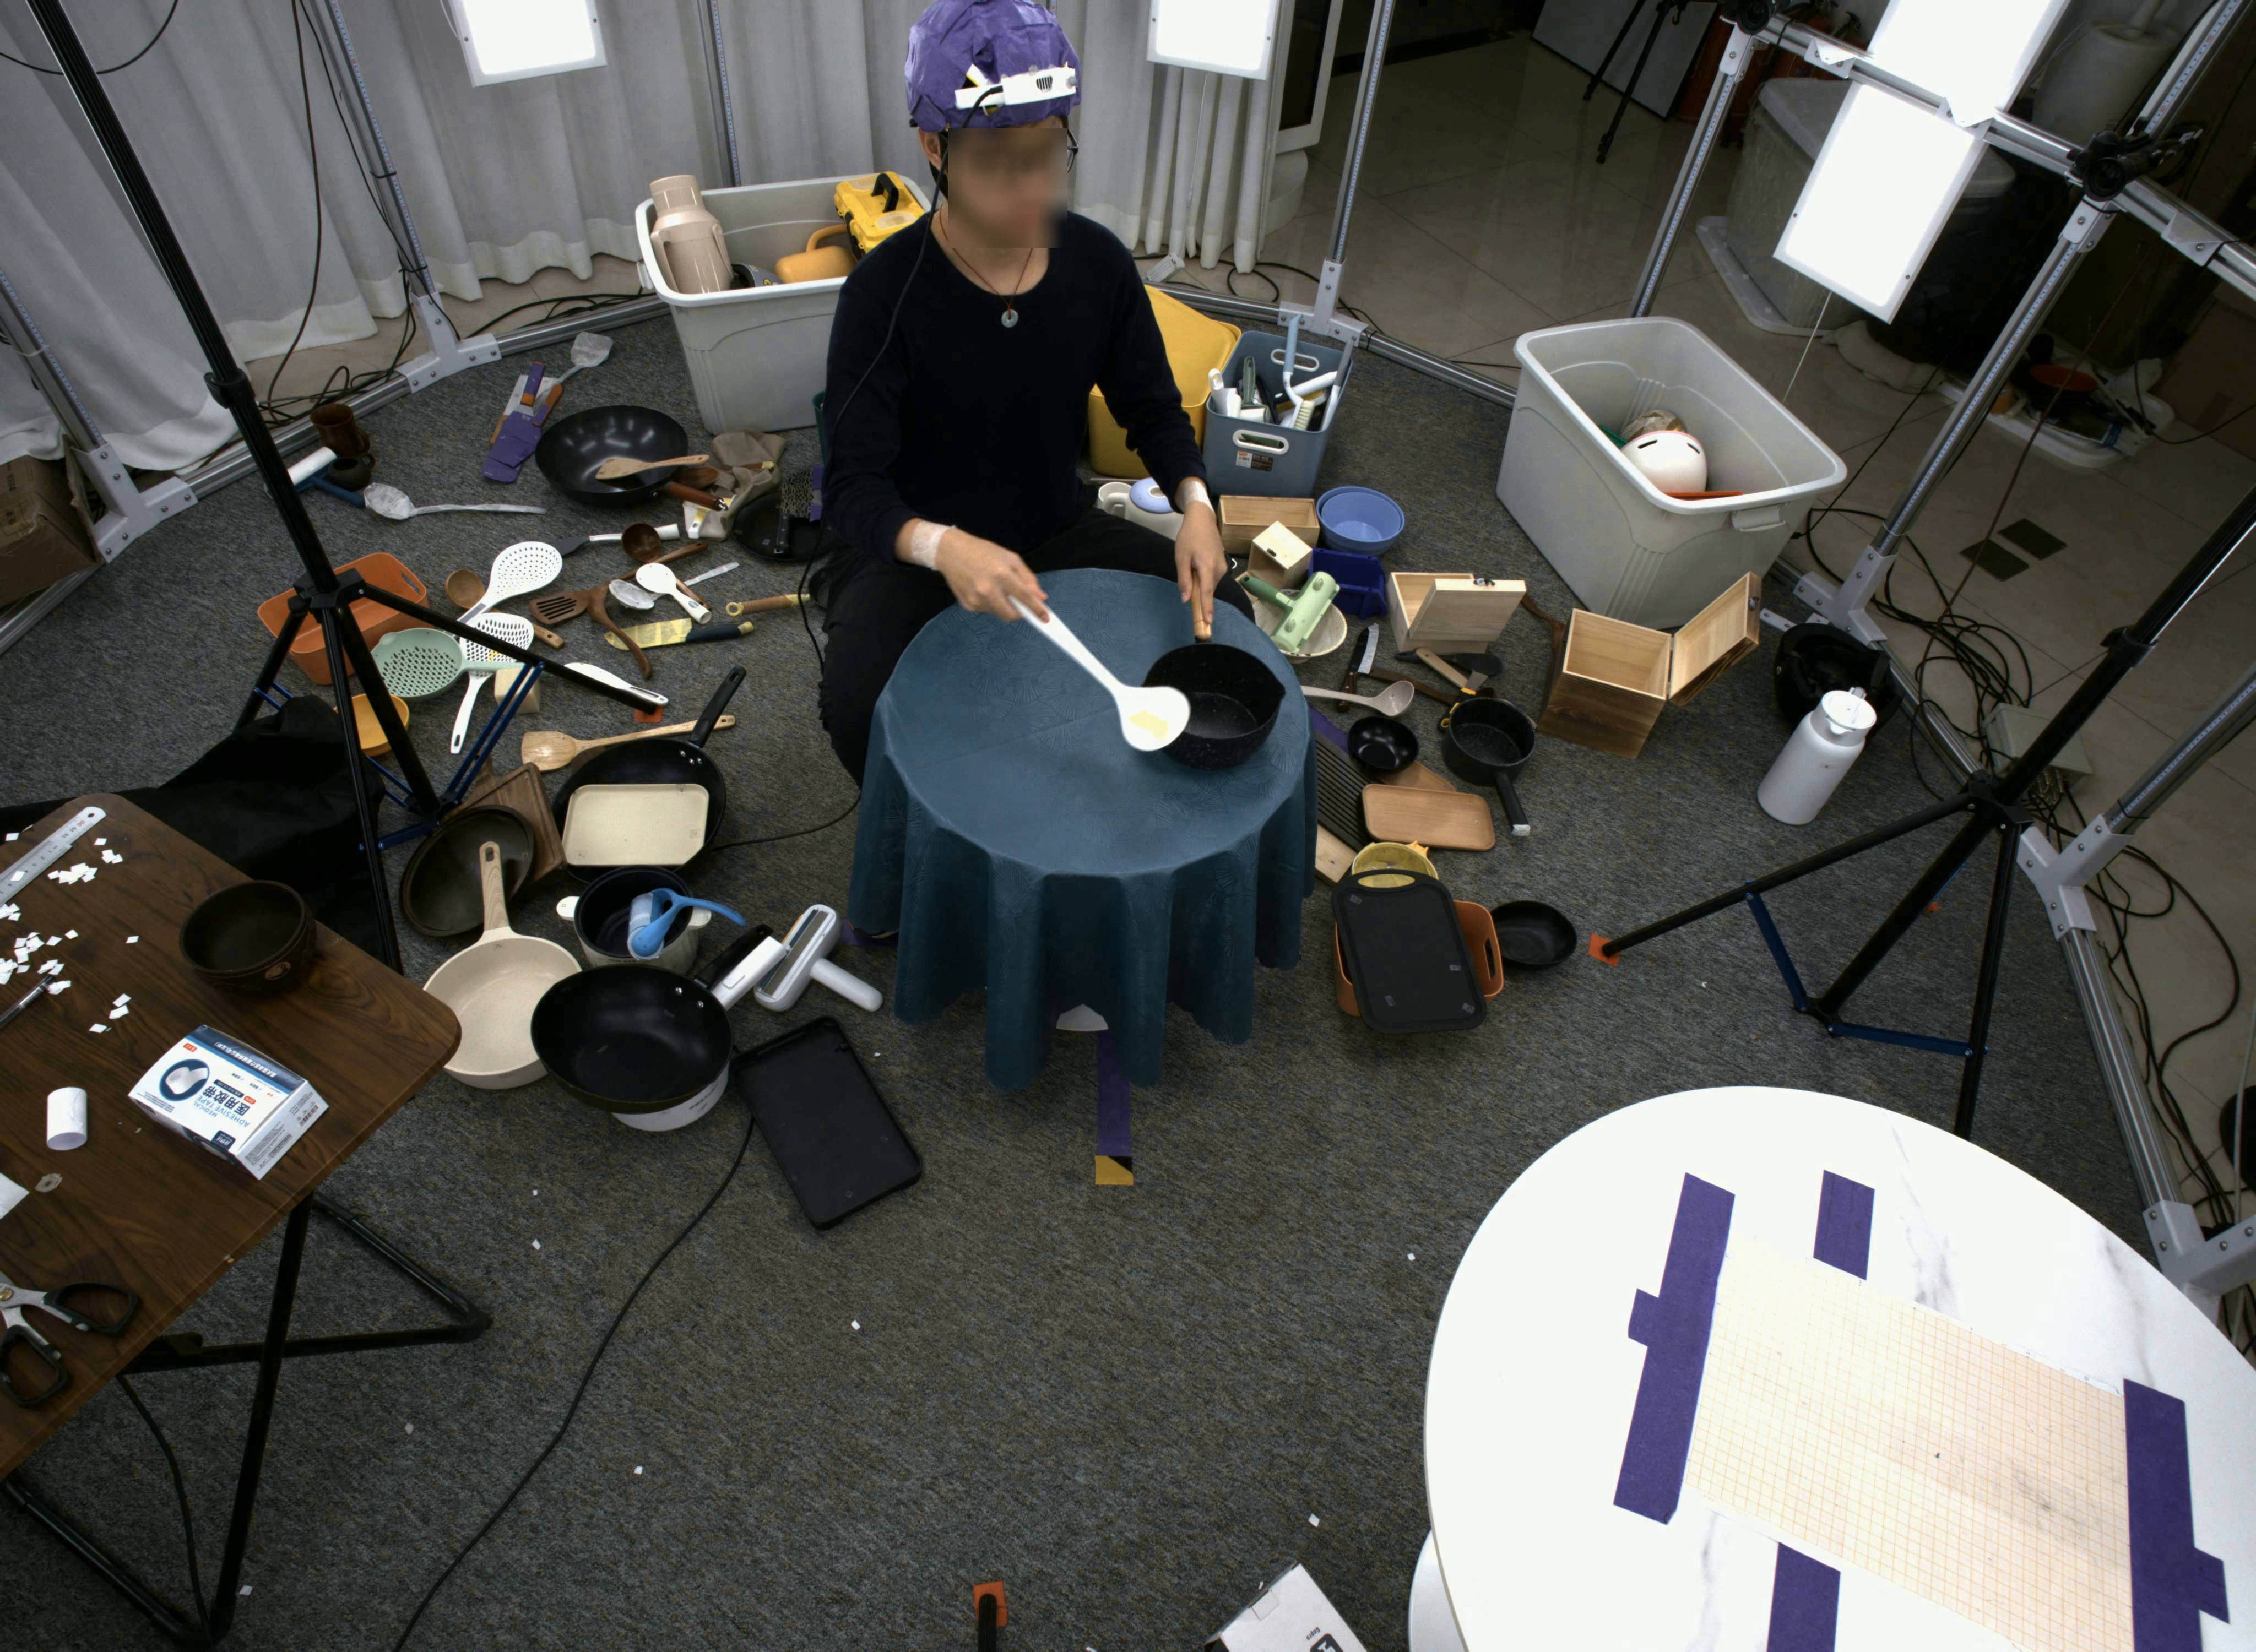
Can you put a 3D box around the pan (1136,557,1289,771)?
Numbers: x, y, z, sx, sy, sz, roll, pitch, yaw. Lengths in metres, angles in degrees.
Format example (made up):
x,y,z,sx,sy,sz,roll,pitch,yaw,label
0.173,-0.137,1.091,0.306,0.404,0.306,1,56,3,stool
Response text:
x,y,z,sx,sy,sz,roll,pitch,yaw,label
0.106,-0.228,1.803,0.207,0.105,0.351,-2,51,-5,pan

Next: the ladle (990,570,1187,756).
x,y,z,sx,sy,sz,roll,pitch,yaw,label
-0.051,-0.206,1.594,0.290,0.070,0.090,42,89,-16,ladle
